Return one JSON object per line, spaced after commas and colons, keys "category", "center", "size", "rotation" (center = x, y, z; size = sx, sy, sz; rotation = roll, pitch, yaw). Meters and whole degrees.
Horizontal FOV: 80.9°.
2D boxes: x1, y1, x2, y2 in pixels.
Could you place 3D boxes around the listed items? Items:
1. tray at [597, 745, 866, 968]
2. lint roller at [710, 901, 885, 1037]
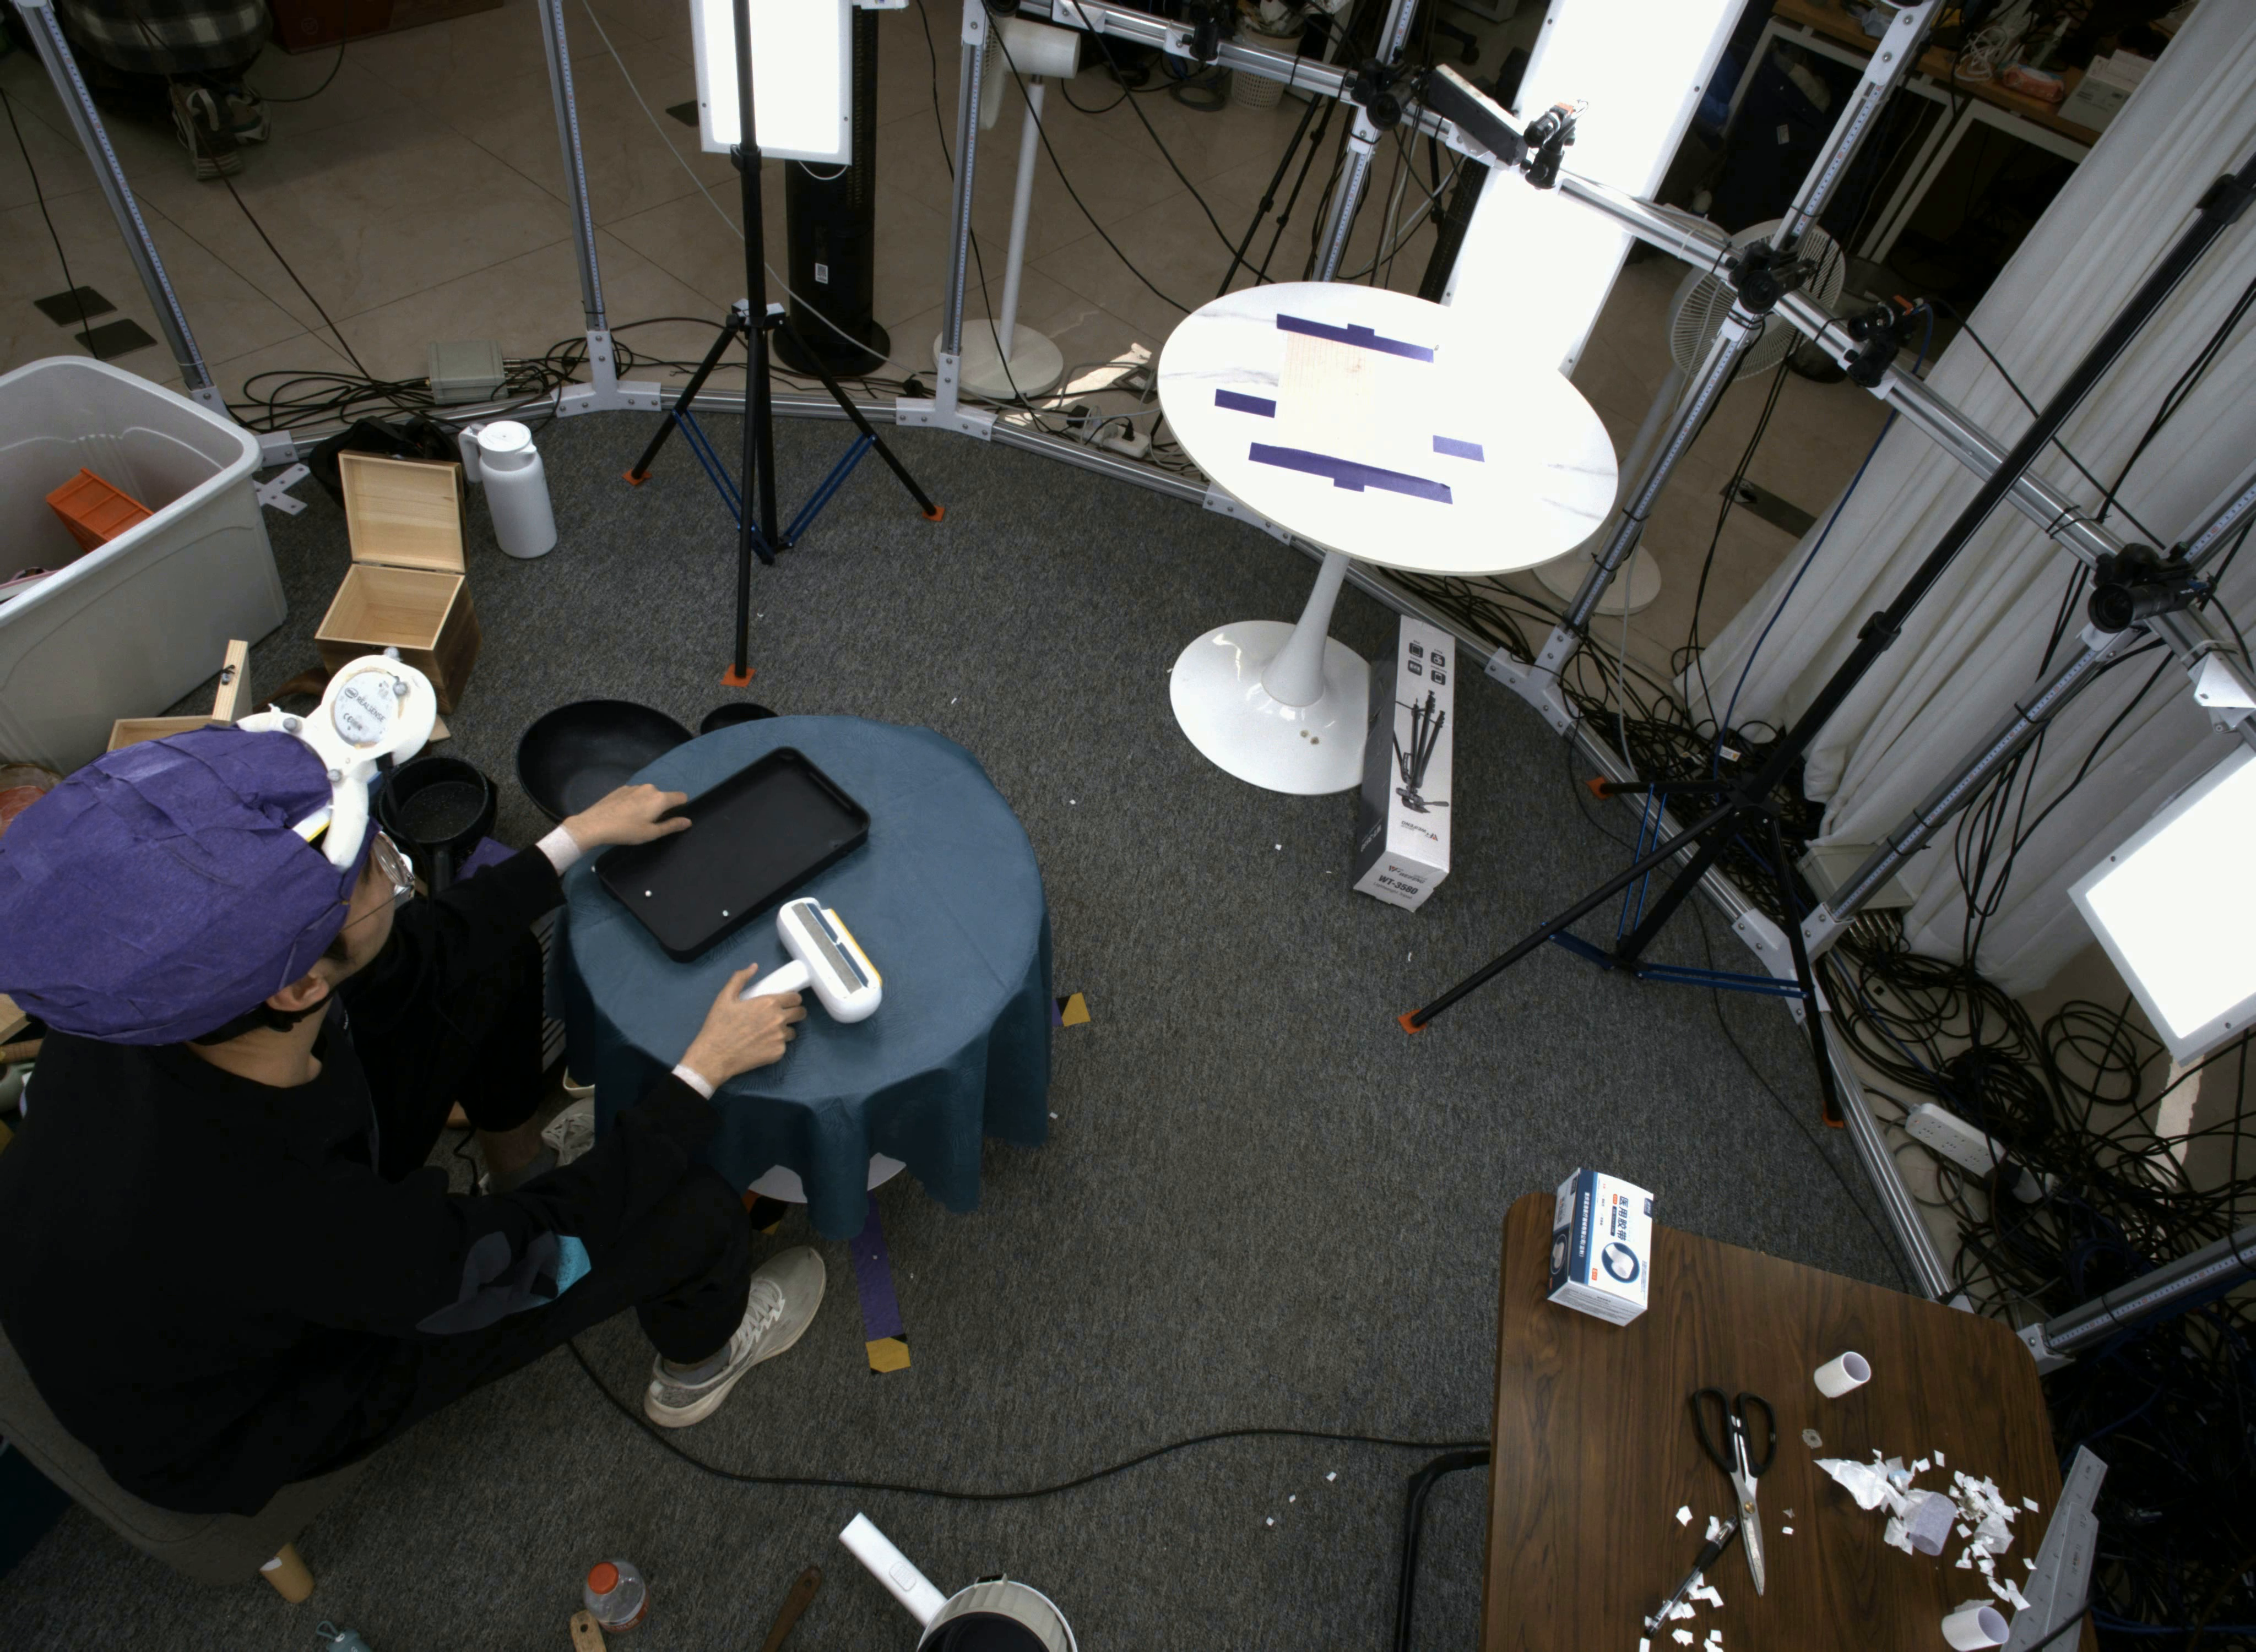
{"category": "tray", "center": [-0.507, 0.031, 1.662], "size": [0.180, 0.038, 0.318], "rotation": [39, 54, 15]}
{"category": "lint roller", "center": [-0.409, 0.188, 1.551], "size": [0.193, 0.076, 0.187], "rotation": [-21, 55, -25]}
